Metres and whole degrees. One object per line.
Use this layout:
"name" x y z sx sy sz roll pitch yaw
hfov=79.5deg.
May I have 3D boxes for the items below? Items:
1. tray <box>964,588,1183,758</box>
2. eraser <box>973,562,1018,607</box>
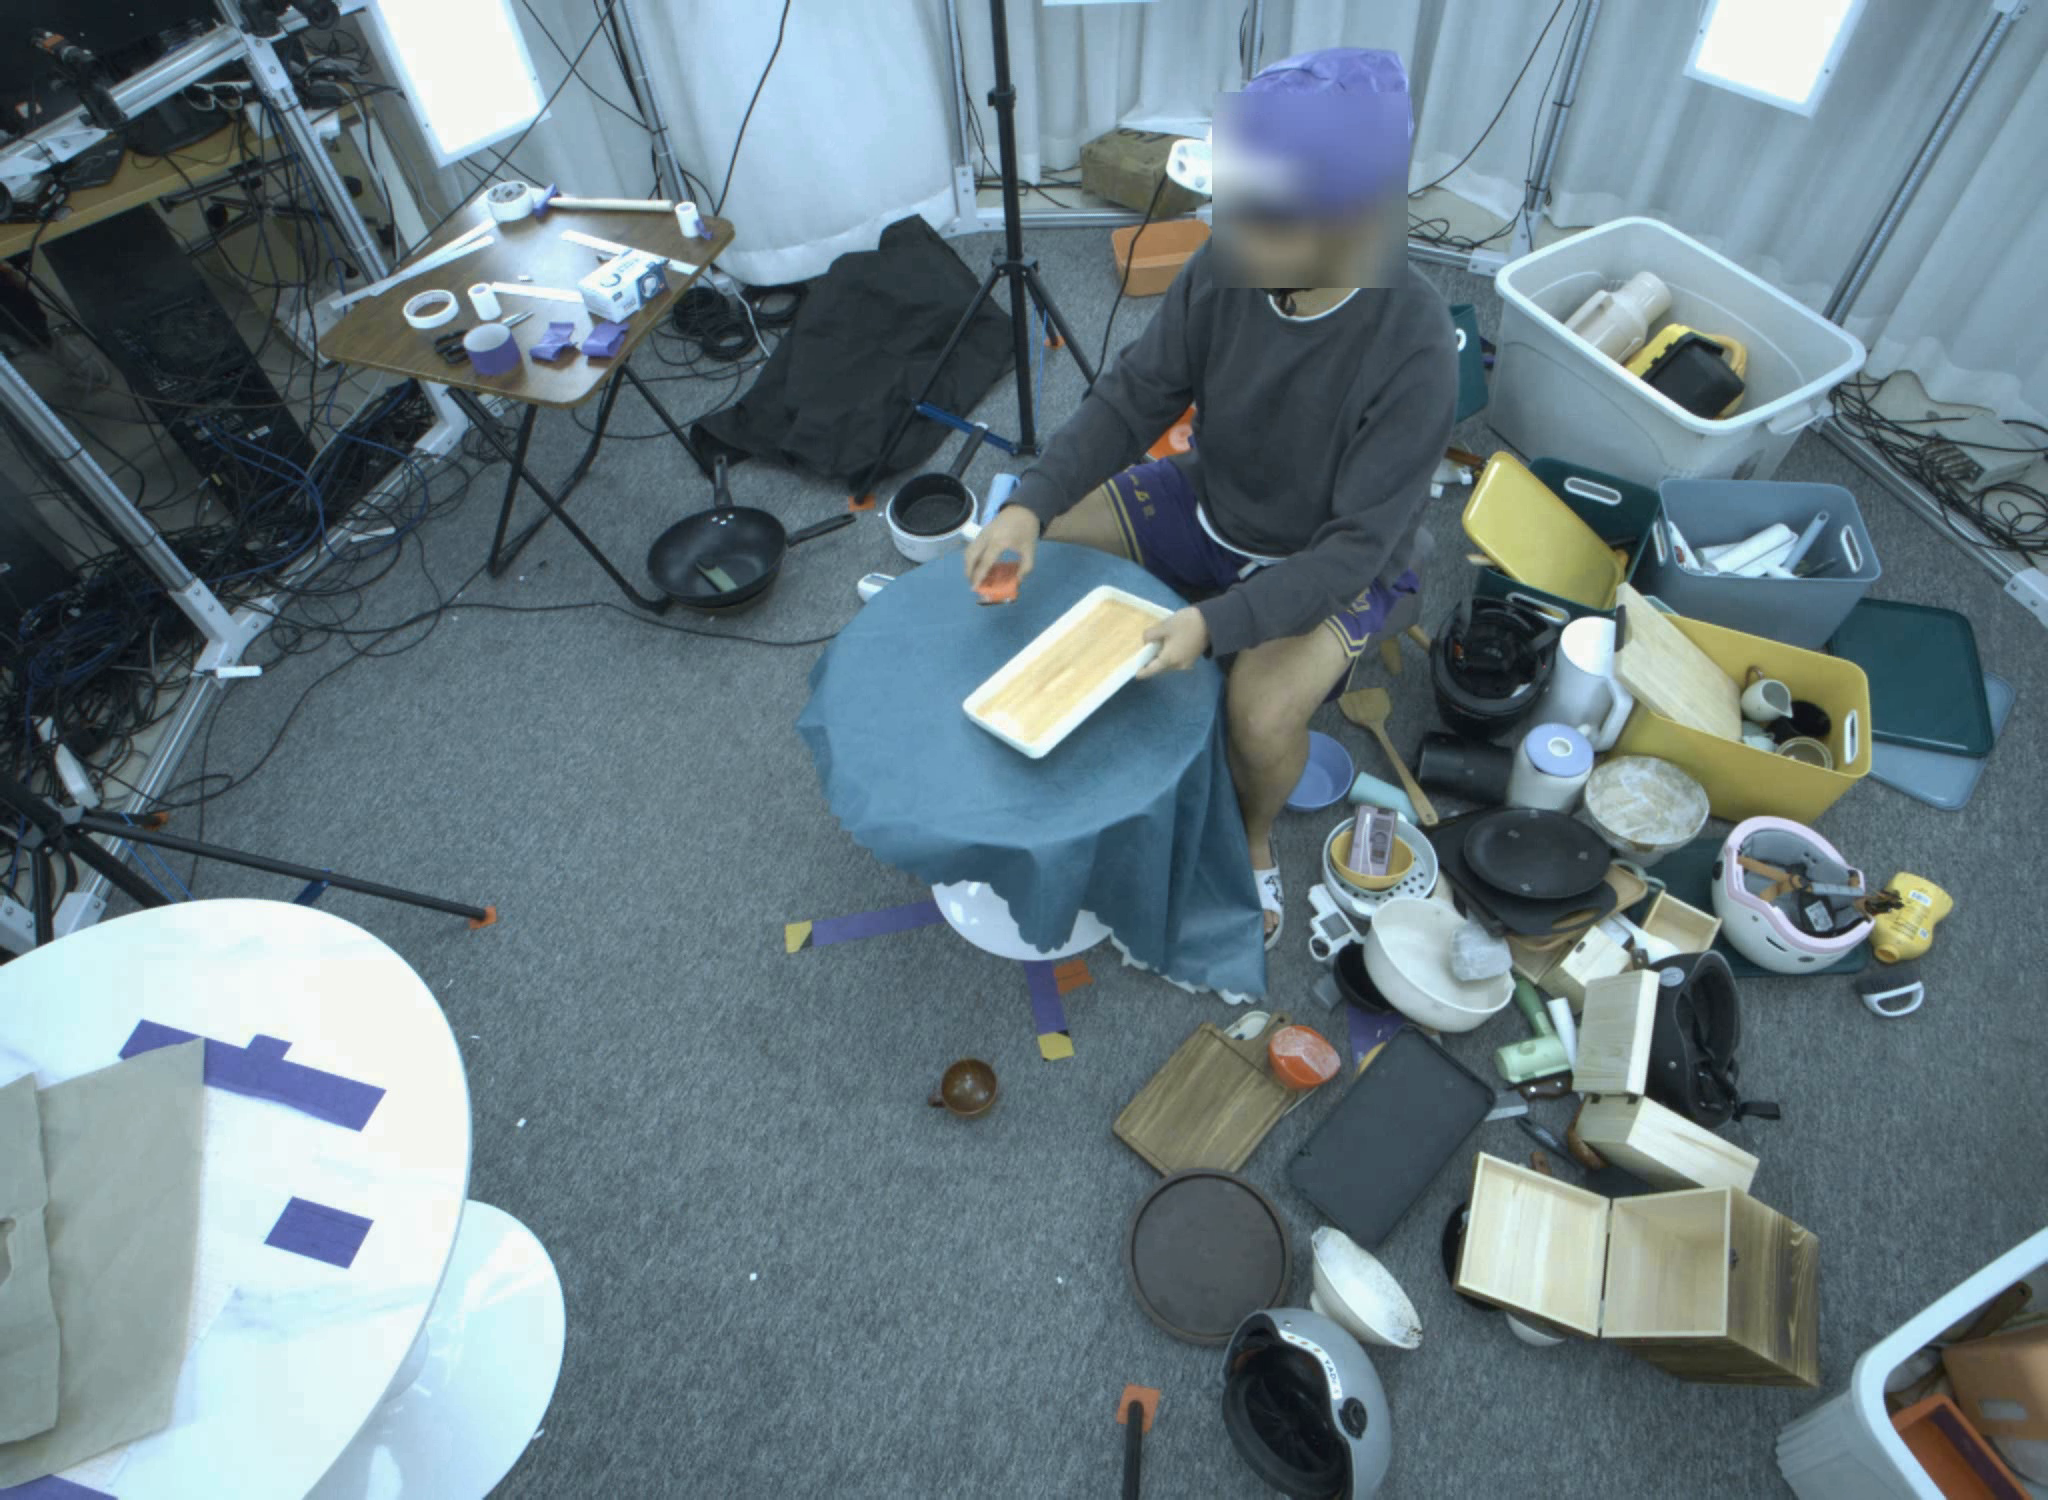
"tray" 0.070 -0.118 1.793 0.301 0.028 0.187 -41 40 -15
"eraser" -0.043 -0.252 1.859 0.059 0.023 0.107 -1 35 6
